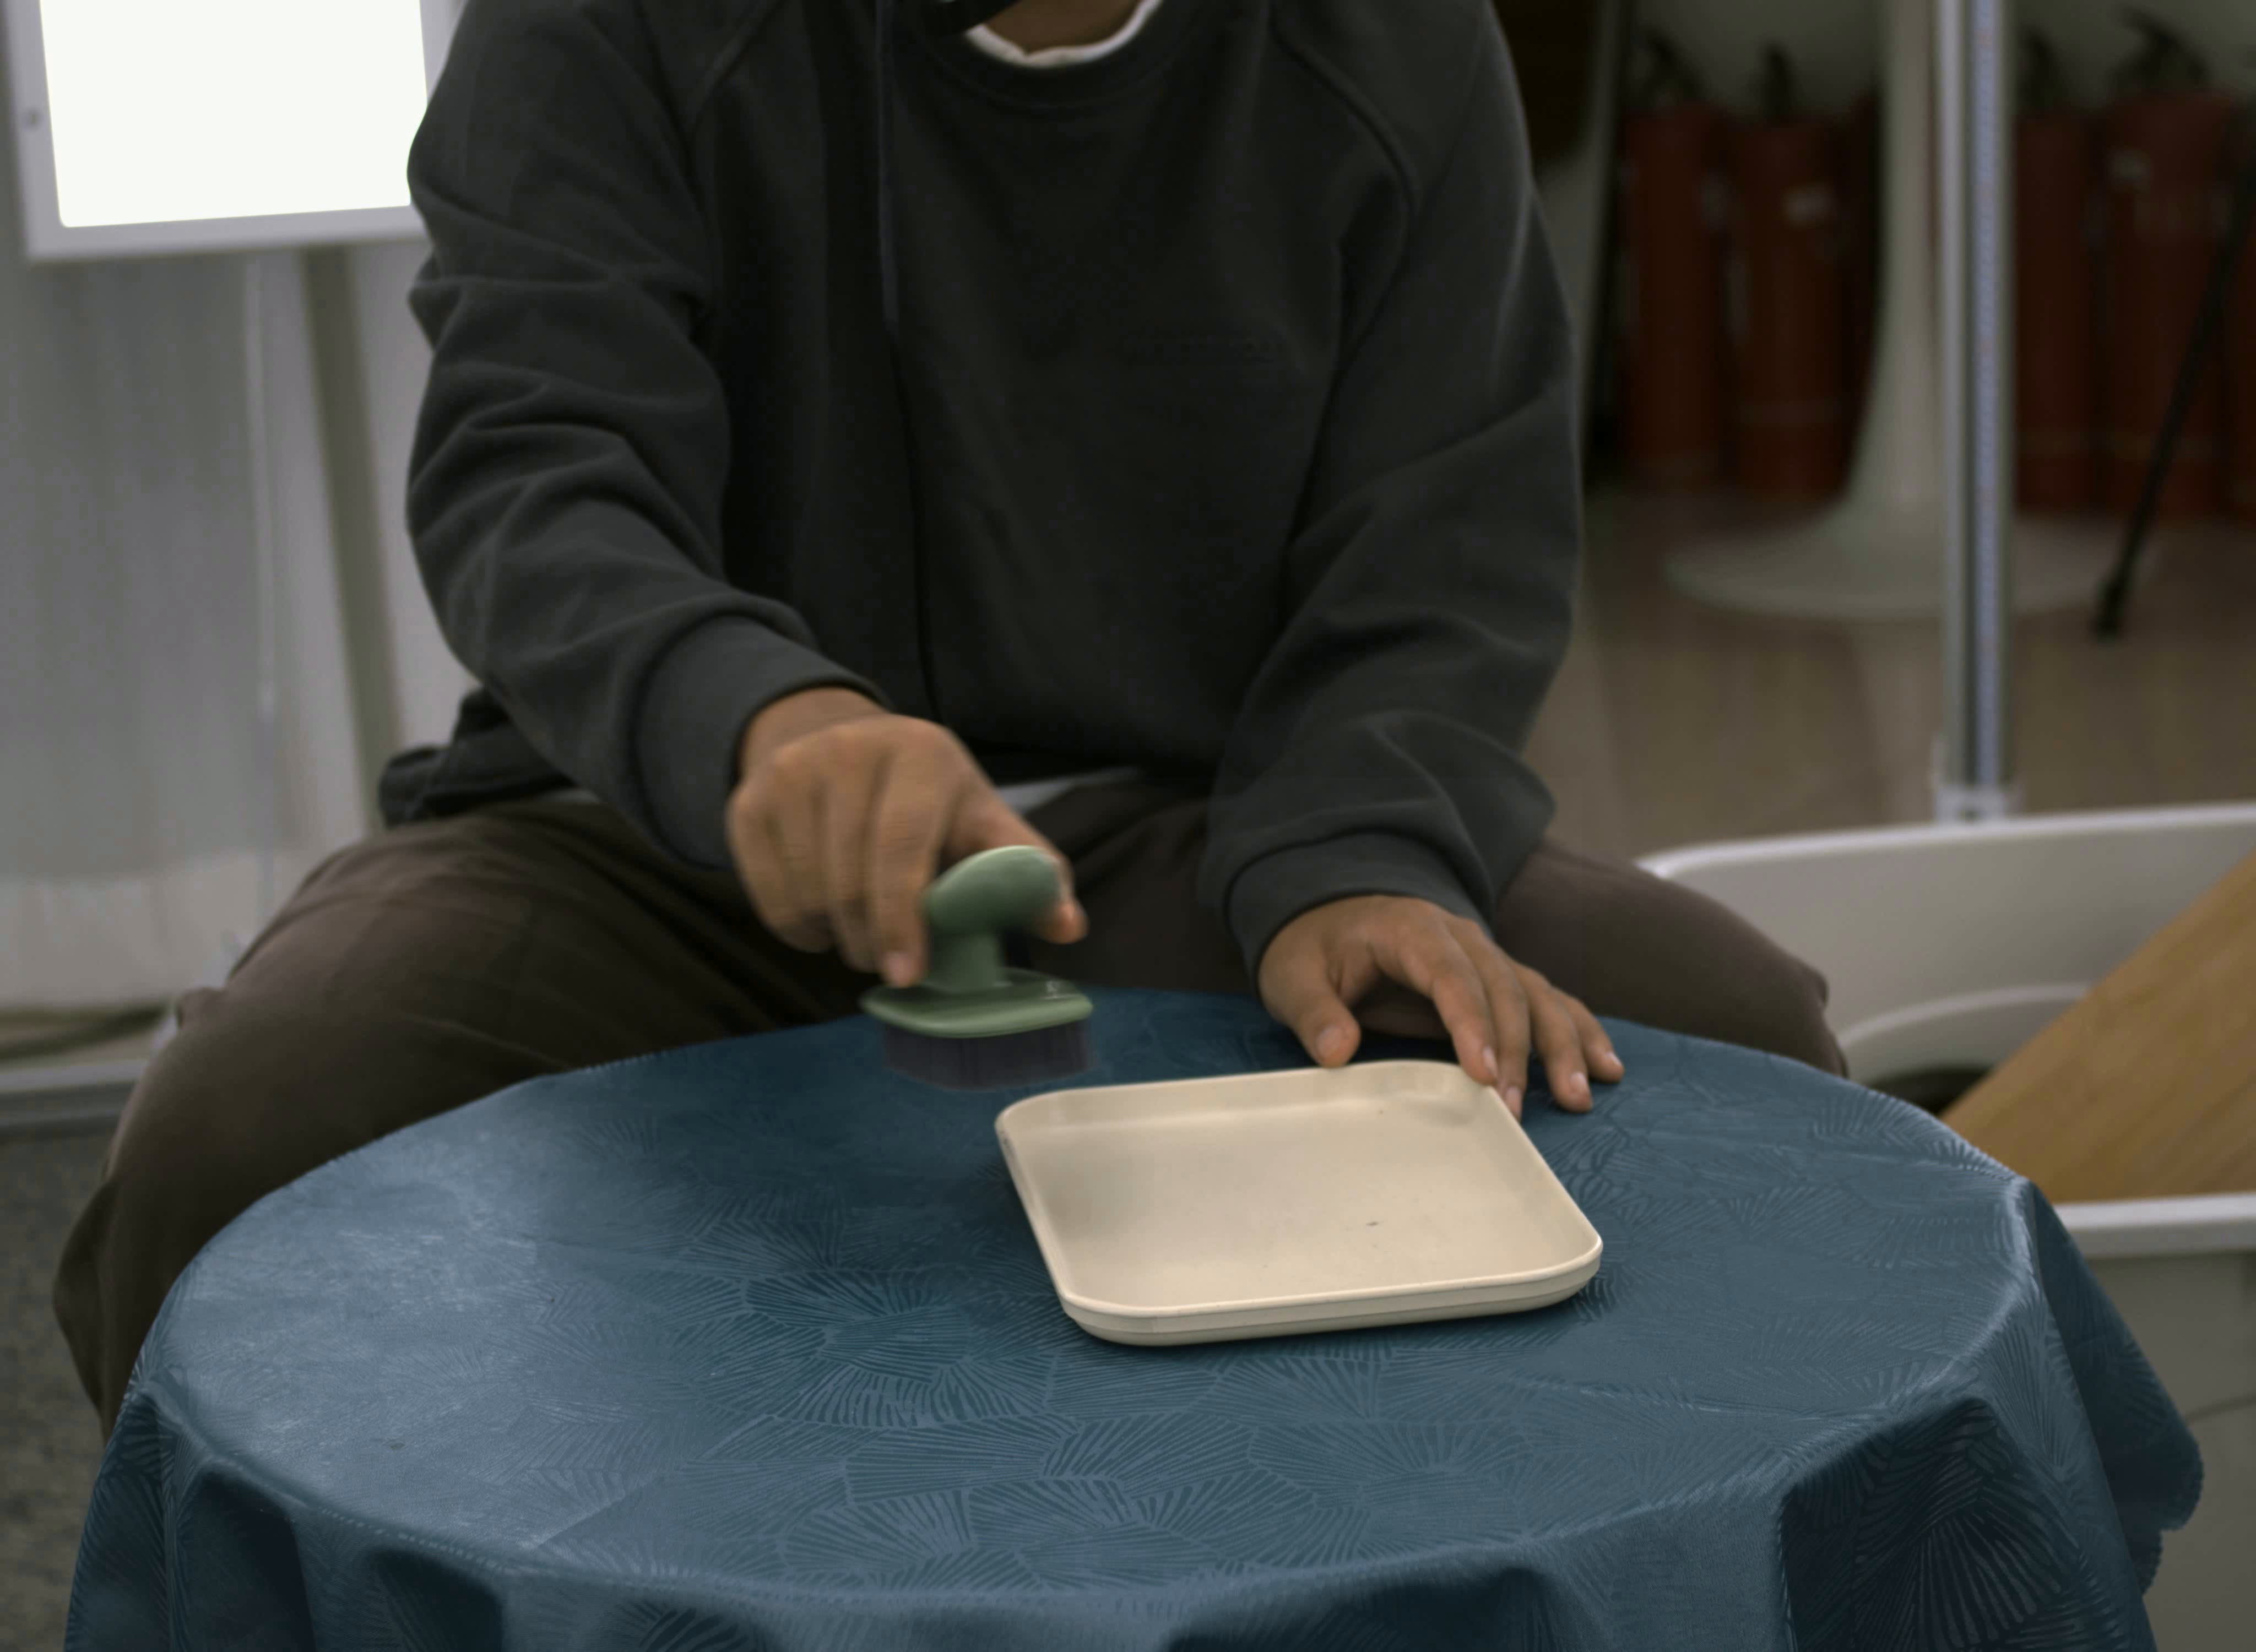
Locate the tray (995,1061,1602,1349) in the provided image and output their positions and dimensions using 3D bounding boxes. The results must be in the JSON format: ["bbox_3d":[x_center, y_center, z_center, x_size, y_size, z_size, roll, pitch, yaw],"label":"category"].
[{"bbox_3d":[0.051,0.120,1.726,0.168,0.017,0.241,-5,14,-6],"label":"tray"}]

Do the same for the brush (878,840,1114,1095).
[{"bbox_3d":[-0.043,0.051,1.733,0.058,0.077,0.124,-9,-7,-19],"label":"brush"}]
